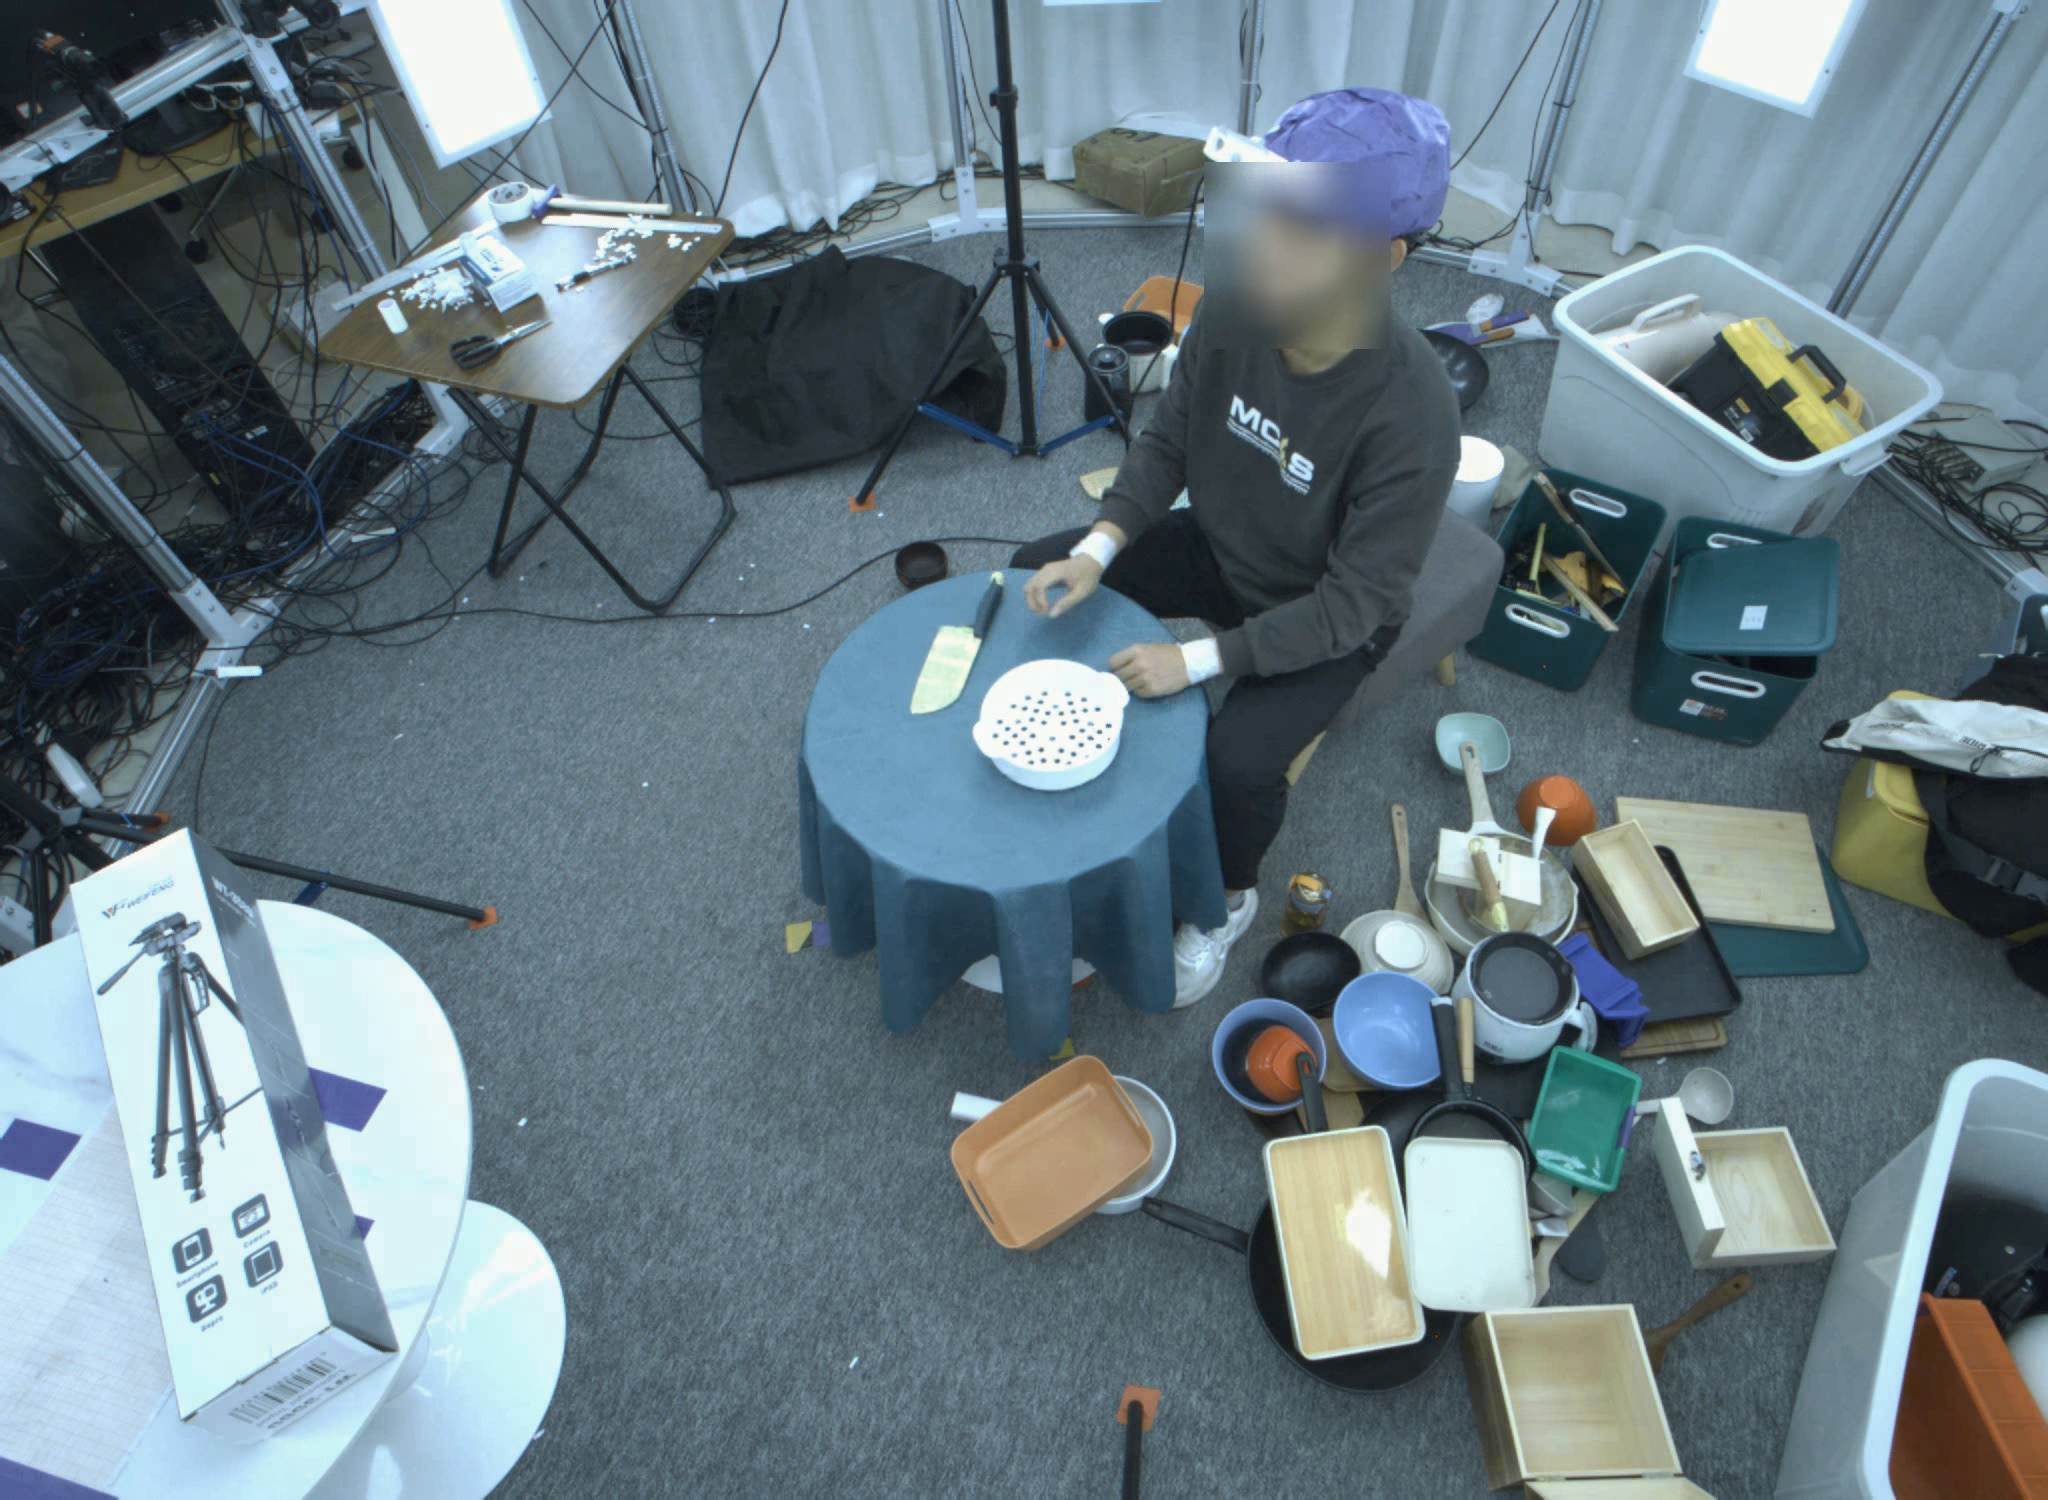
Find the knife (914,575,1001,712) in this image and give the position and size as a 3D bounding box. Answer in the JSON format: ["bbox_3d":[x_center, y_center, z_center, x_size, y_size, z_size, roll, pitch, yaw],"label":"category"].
[{"bbox_3d":[-0.101,-0.168,1.909,0.080,0.027,0.289,16,57,11],"label":"knife"}]

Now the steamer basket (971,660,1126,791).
[{"bbox_3d":[0.036,-0.034,1.777,0.232,0.070,0.198,-21,58,-15],"label":"steamer basket"}]
